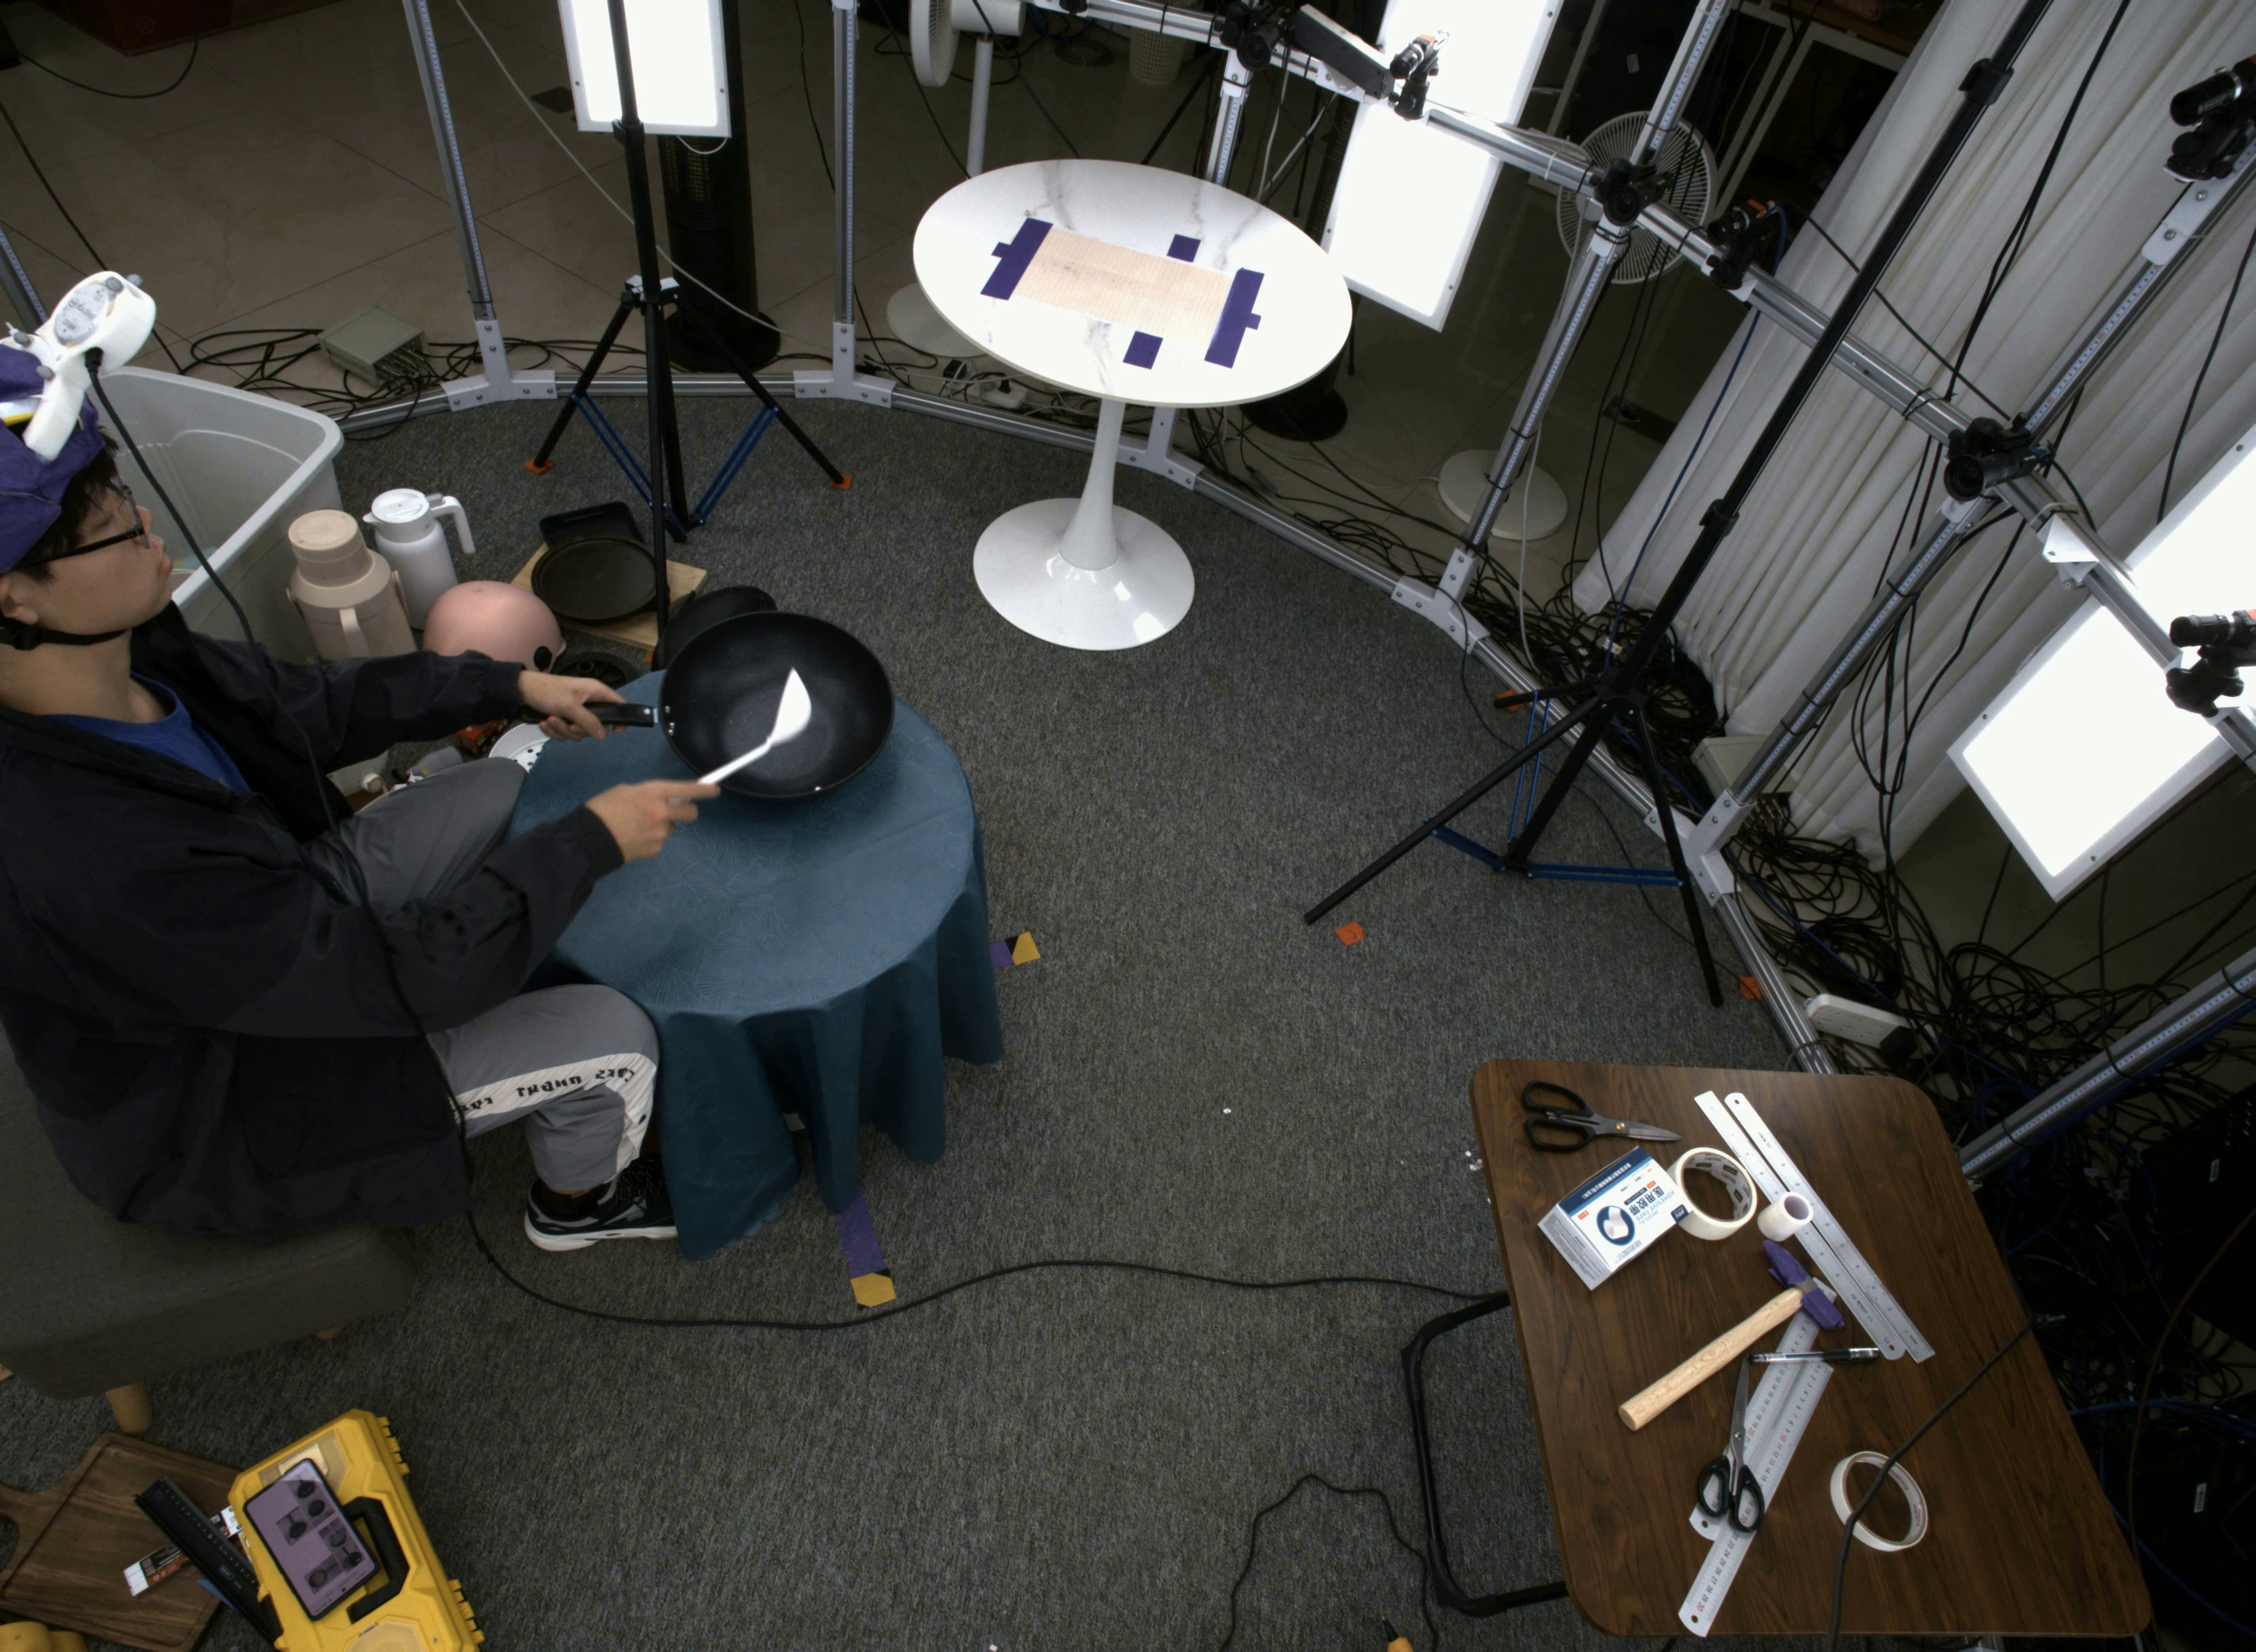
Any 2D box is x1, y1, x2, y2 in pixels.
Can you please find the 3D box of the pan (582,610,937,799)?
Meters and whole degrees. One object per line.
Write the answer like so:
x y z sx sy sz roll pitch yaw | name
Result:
-0.498 -0.151 1.749 0.479 0.113 0.304 -5 60 -20 | pan

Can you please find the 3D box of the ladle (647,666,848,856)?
-0.452 -0.079 1.530 0.292 0.088 0.071 -36 104 -11 | ladle
